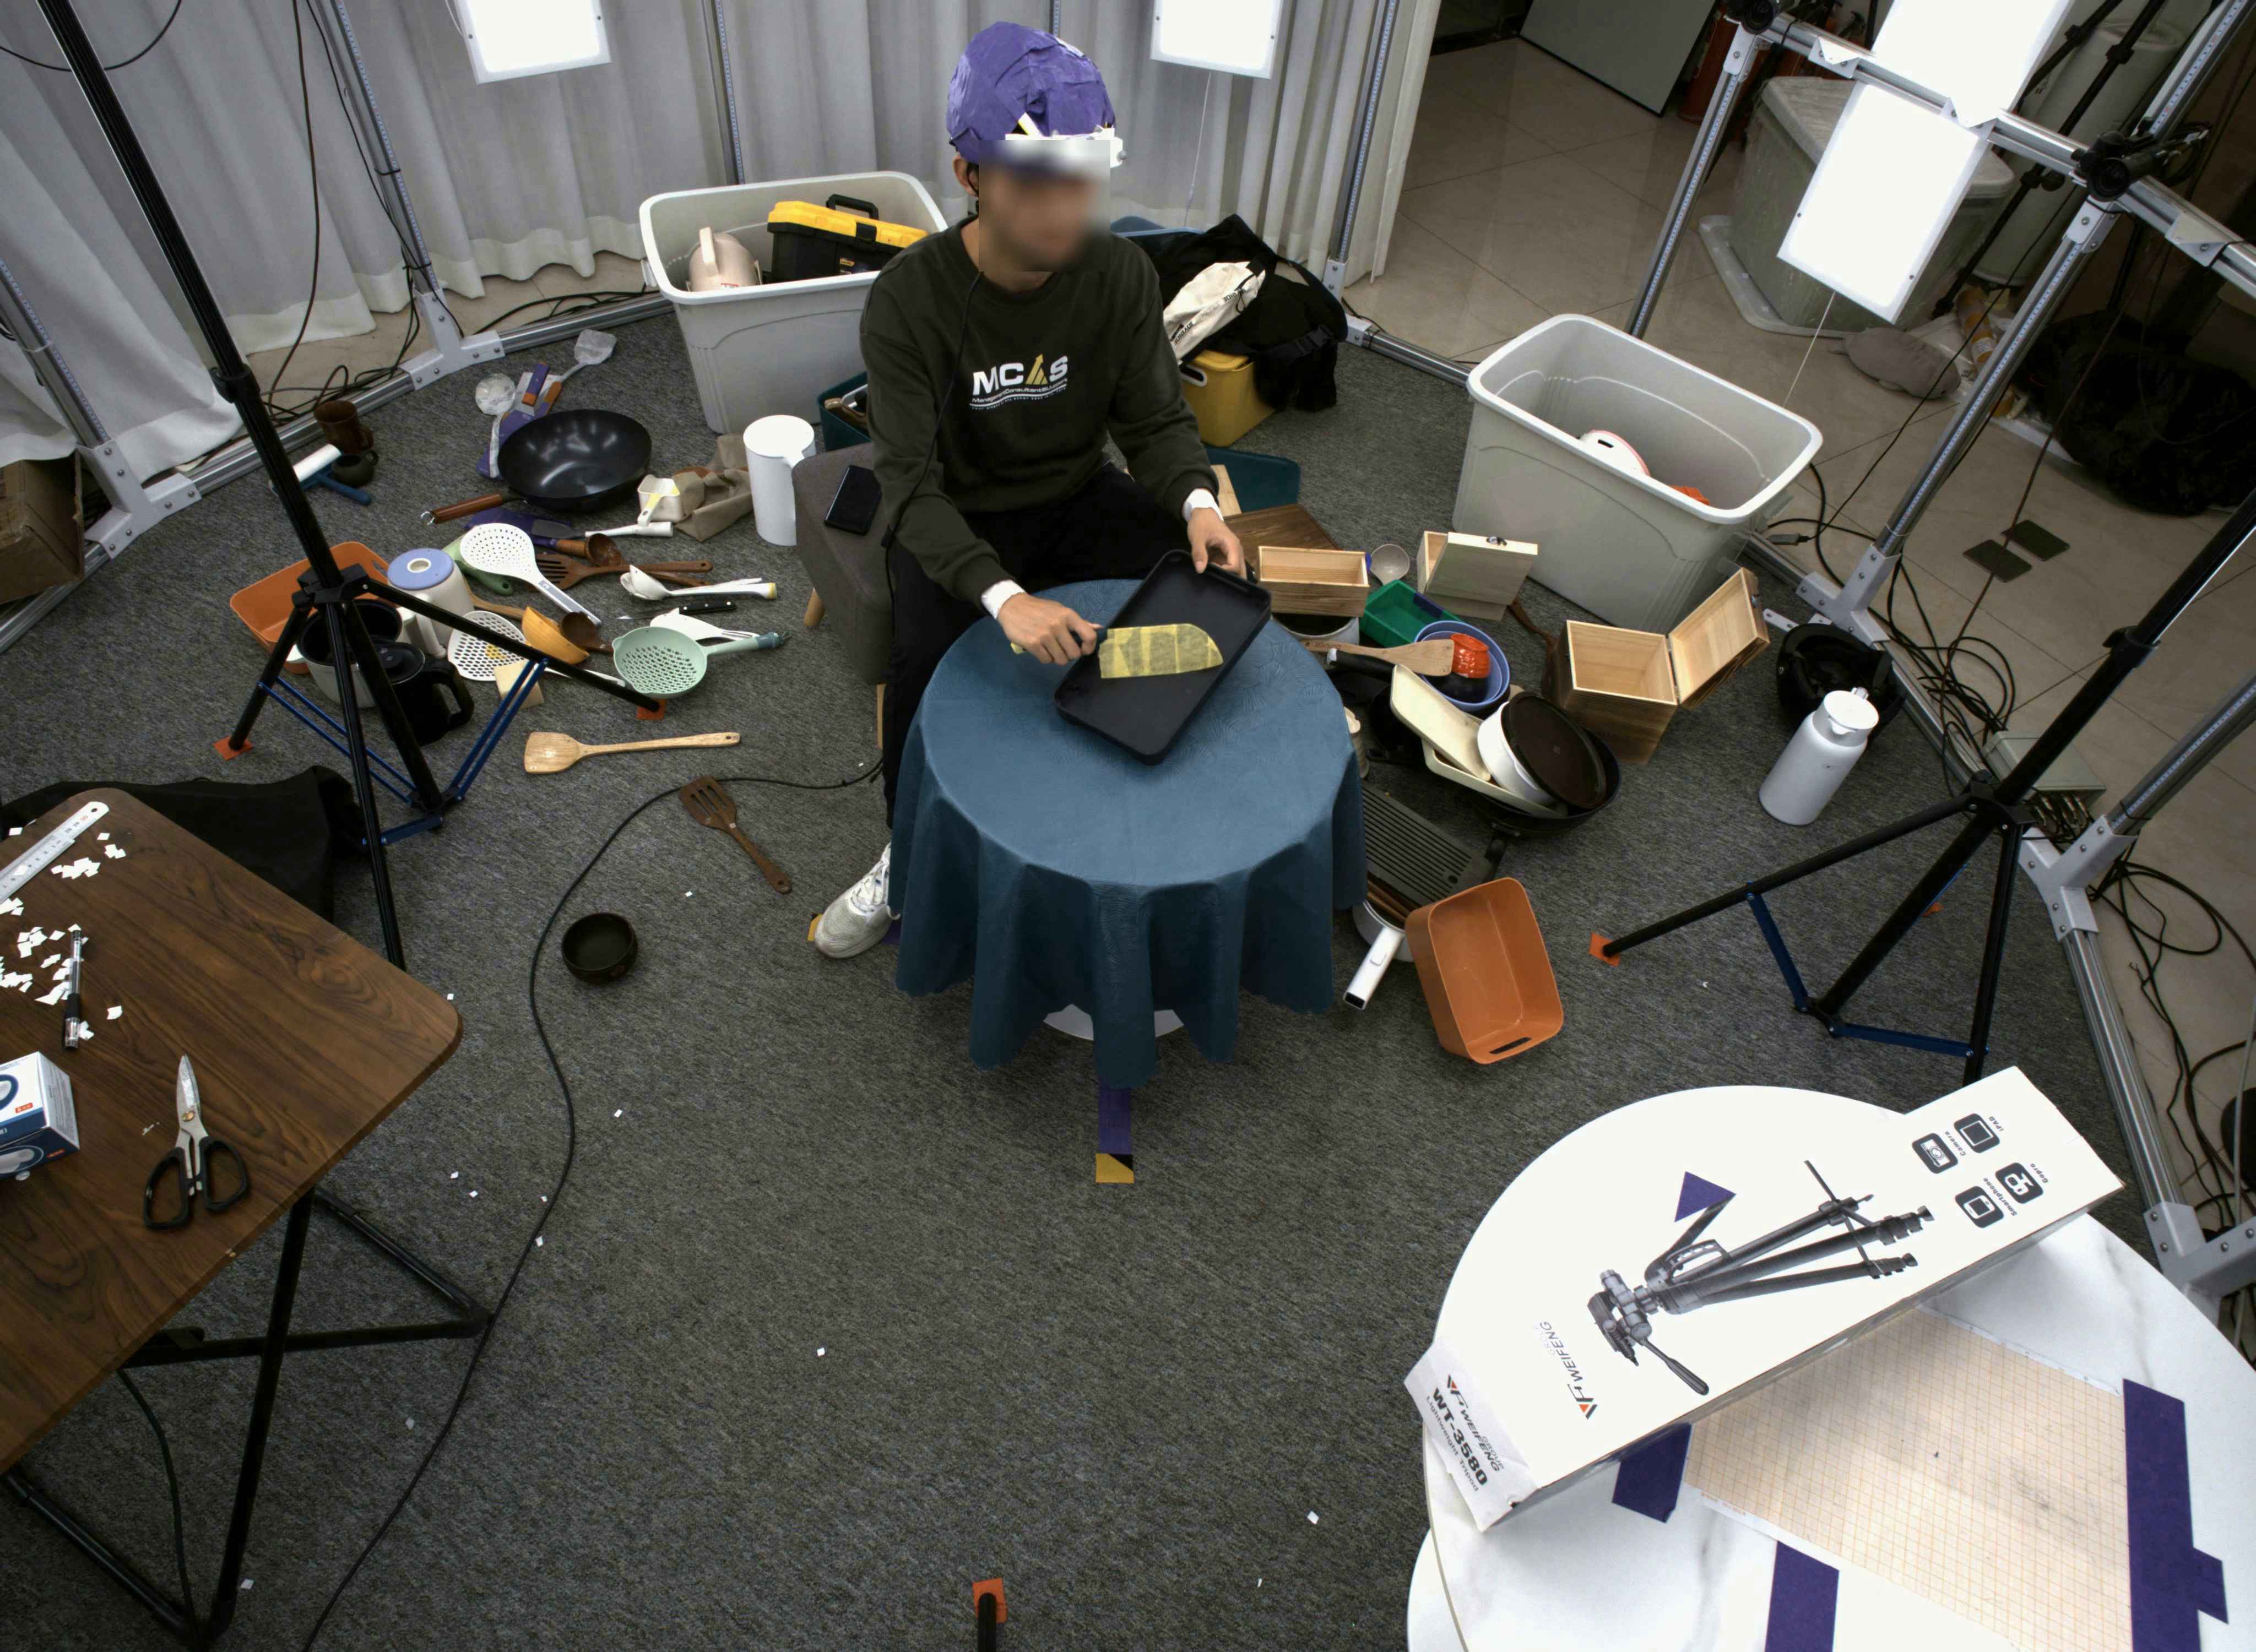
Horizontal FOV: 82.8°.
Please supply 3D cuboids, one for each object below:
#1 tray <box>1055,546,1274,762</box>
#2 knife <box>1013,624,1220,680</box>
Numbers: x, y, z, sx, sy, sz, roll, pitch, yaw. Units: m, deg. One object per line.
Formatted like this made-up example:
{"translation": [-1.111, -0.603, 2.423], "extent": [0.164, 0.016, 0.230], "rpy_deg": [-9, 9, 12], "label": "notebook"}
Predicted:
{"translation": [0.055, -0.247, 1.811], "extent": [0.186, 0.036, 0.322], "rpy_deg": [27, 67, 21], "label": "tray"}
{"translation": [-0.016, -0.243, 1.795], "extent": [0.289, 0.079, 0.028], "rpy_deg": [0, 24, 3], "label": "knife"}
